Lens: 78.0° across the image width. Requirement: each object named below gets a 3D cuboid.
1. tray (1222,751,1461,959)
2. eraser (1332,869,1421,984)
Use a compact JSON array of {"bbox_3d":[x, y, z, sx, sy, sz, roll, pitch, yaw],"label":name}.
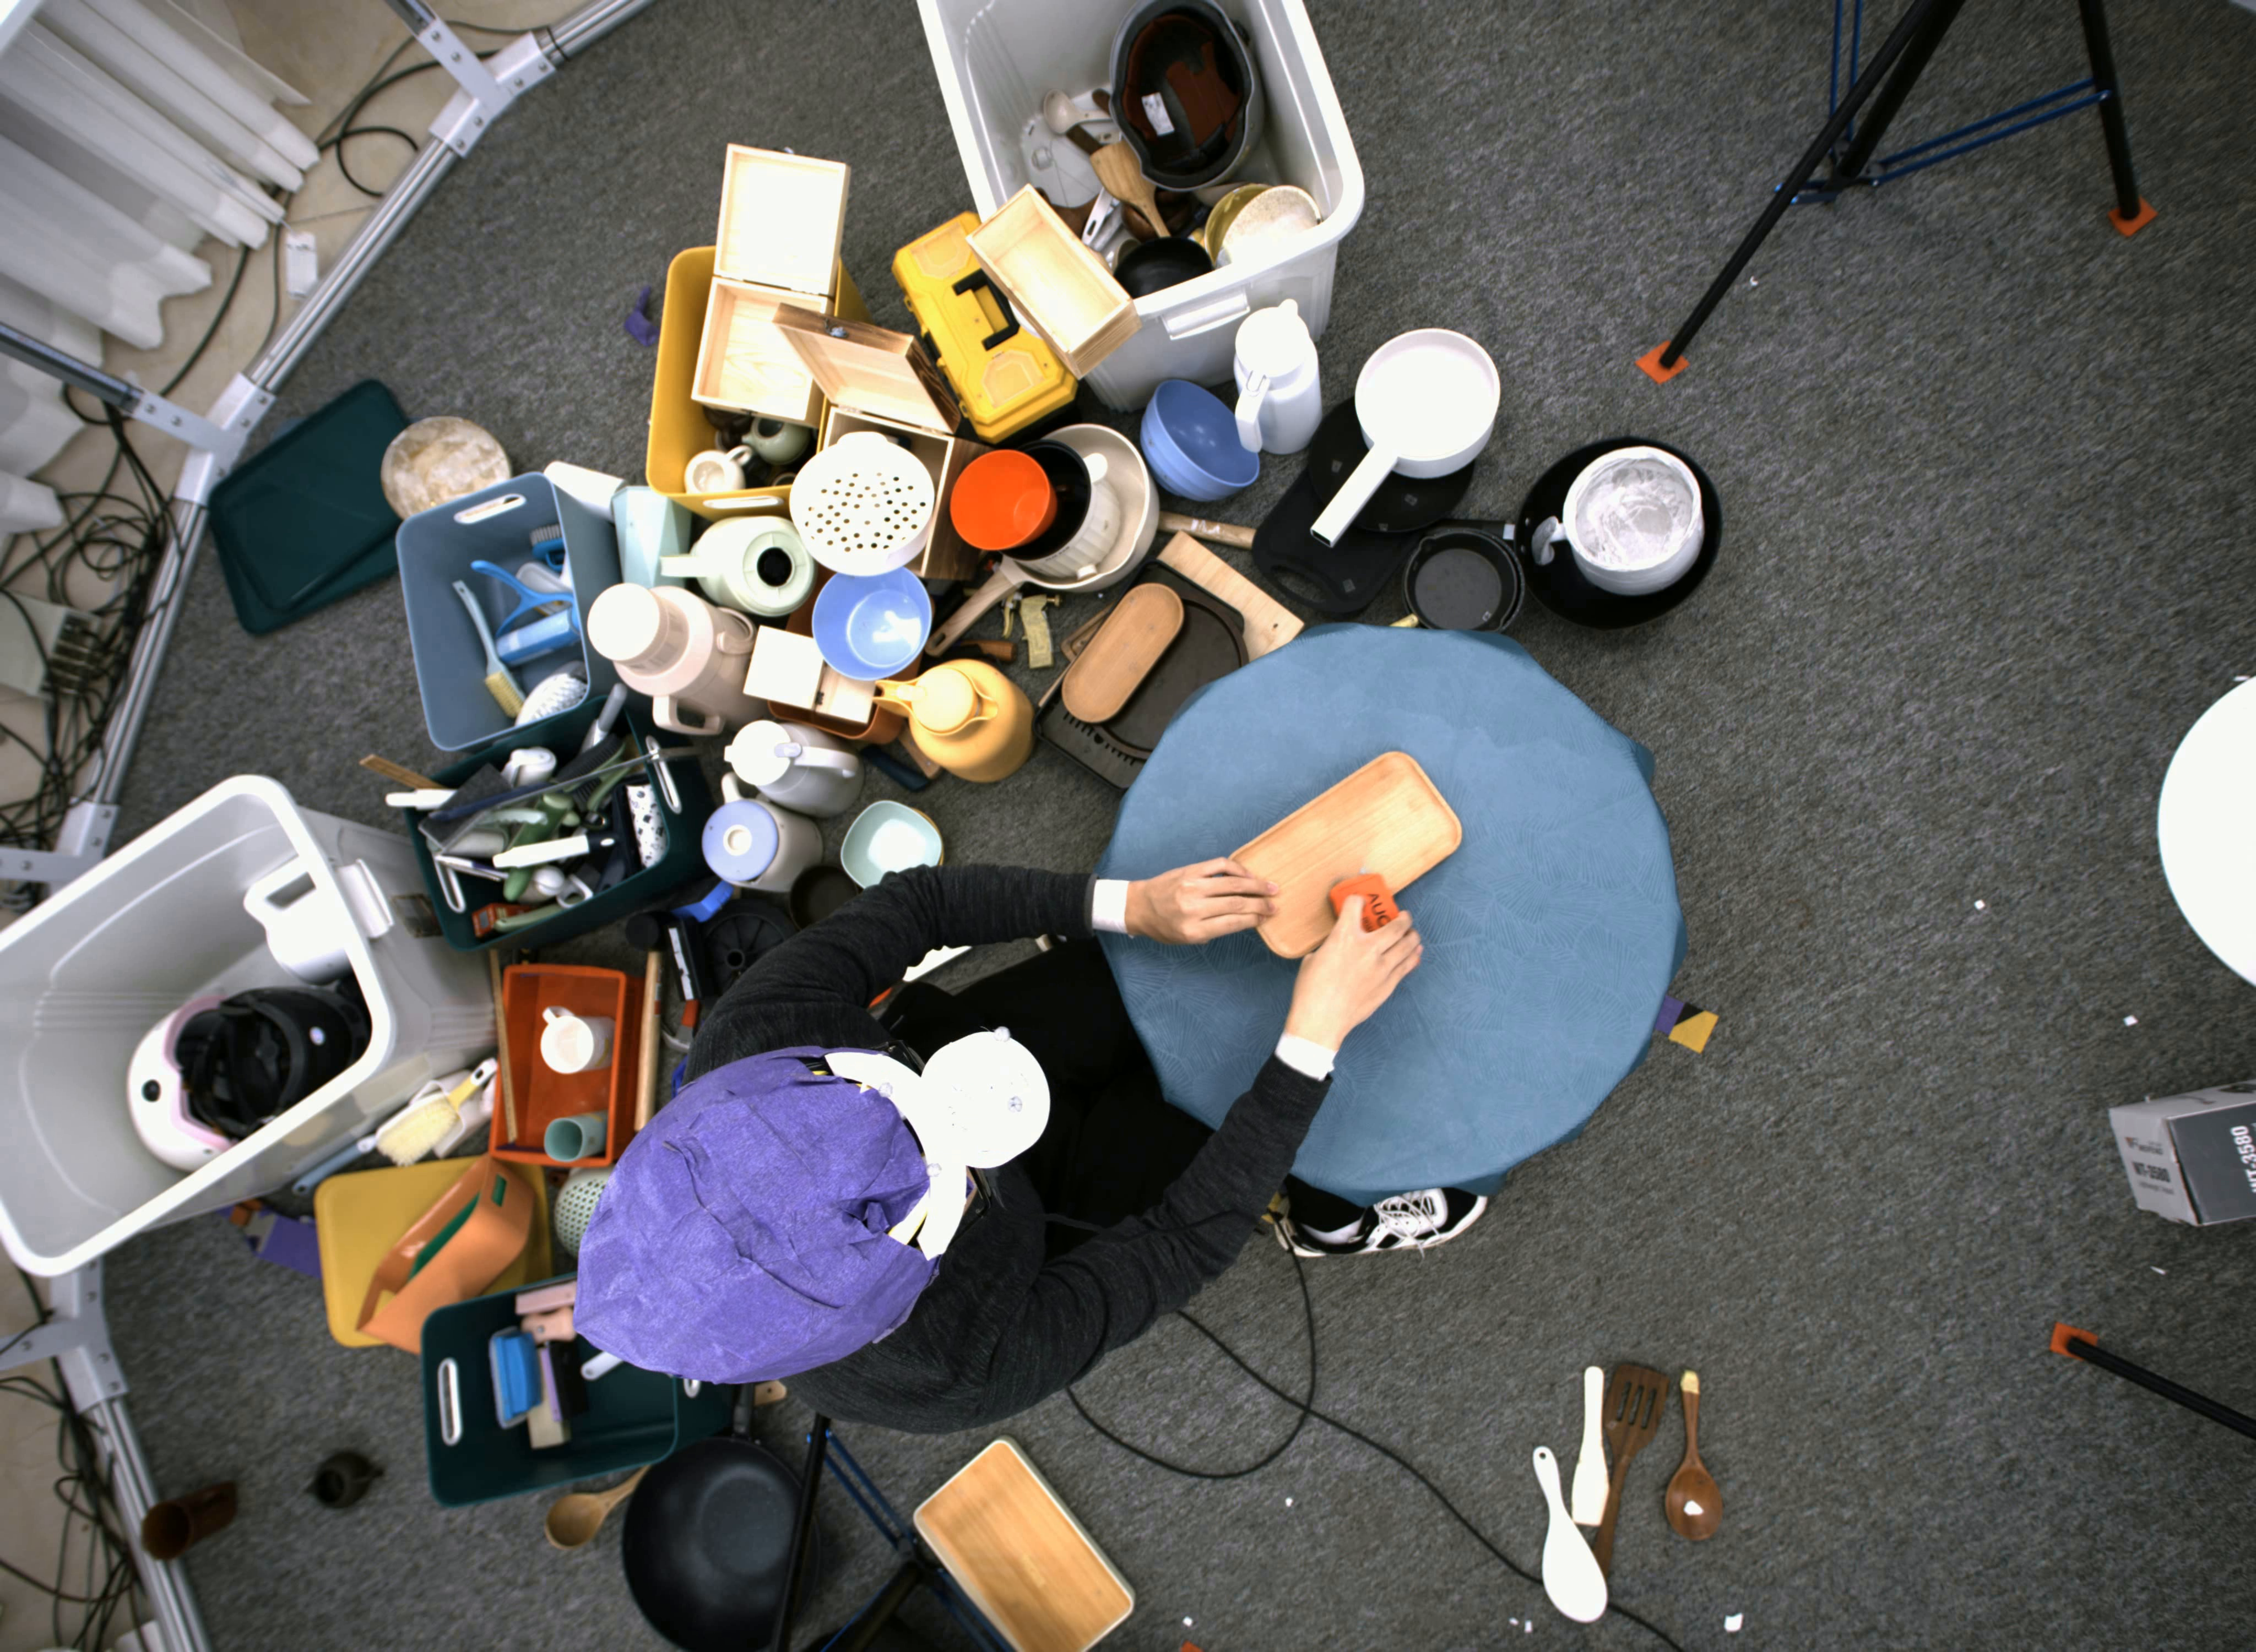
[{"bbox_3d":[0.221,0.028,1.423,0.249,0.023,0.130,-32,81,-12],"label":"tray"},{"bbox_3d":[0.250,0.100,1.392,0.059,0.023,0.107,-19,80,-7],"label":"eraser"}]
